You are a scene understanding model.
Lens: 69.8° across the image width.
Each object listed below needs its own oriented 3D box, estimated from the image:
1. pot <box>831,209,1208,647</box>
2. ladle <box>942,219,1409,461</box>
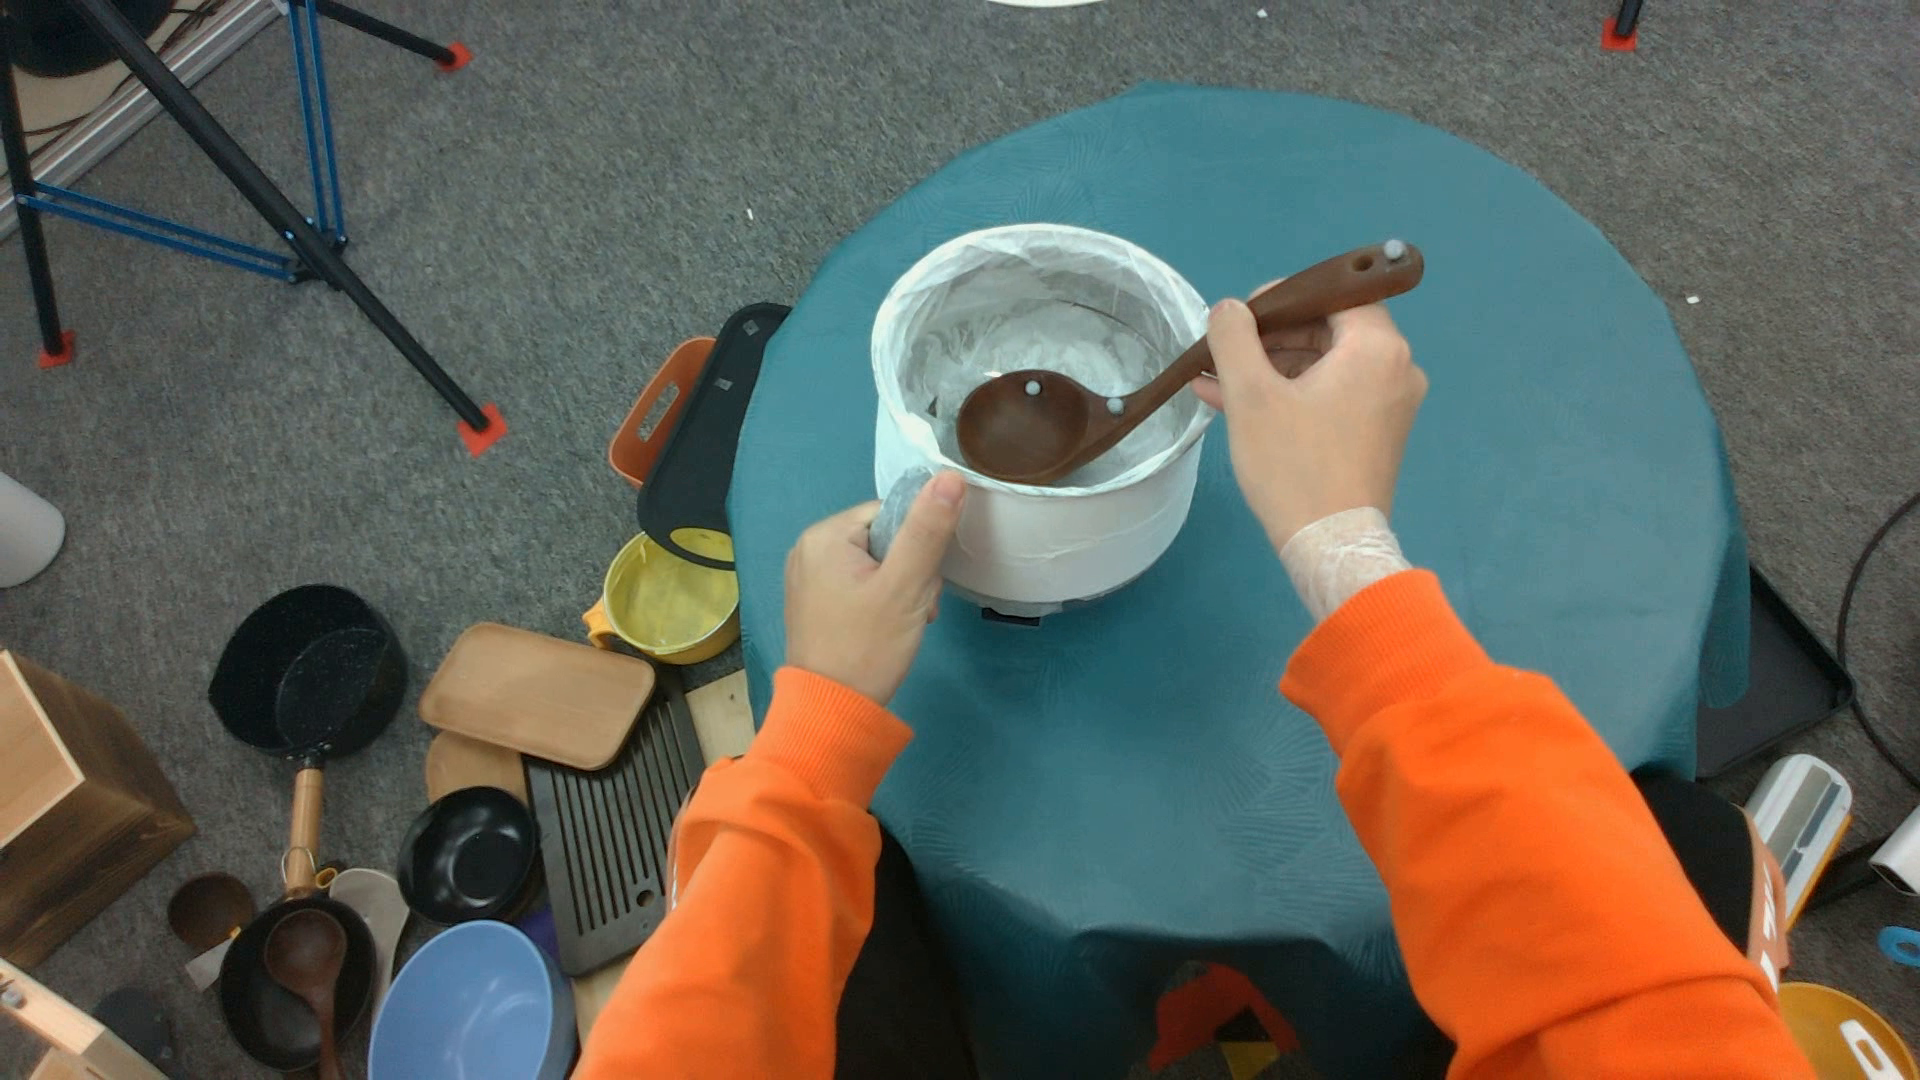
[{"bbox_3d":[0.017,-0.049,0.723,0.179,0.136,0.235,32,61,18],"label":"pot"},{"bbox_3d":[0.089,-0.099,0.660,0.259,0.065,0.077,-26,47,47],"label":"ladle"}]
